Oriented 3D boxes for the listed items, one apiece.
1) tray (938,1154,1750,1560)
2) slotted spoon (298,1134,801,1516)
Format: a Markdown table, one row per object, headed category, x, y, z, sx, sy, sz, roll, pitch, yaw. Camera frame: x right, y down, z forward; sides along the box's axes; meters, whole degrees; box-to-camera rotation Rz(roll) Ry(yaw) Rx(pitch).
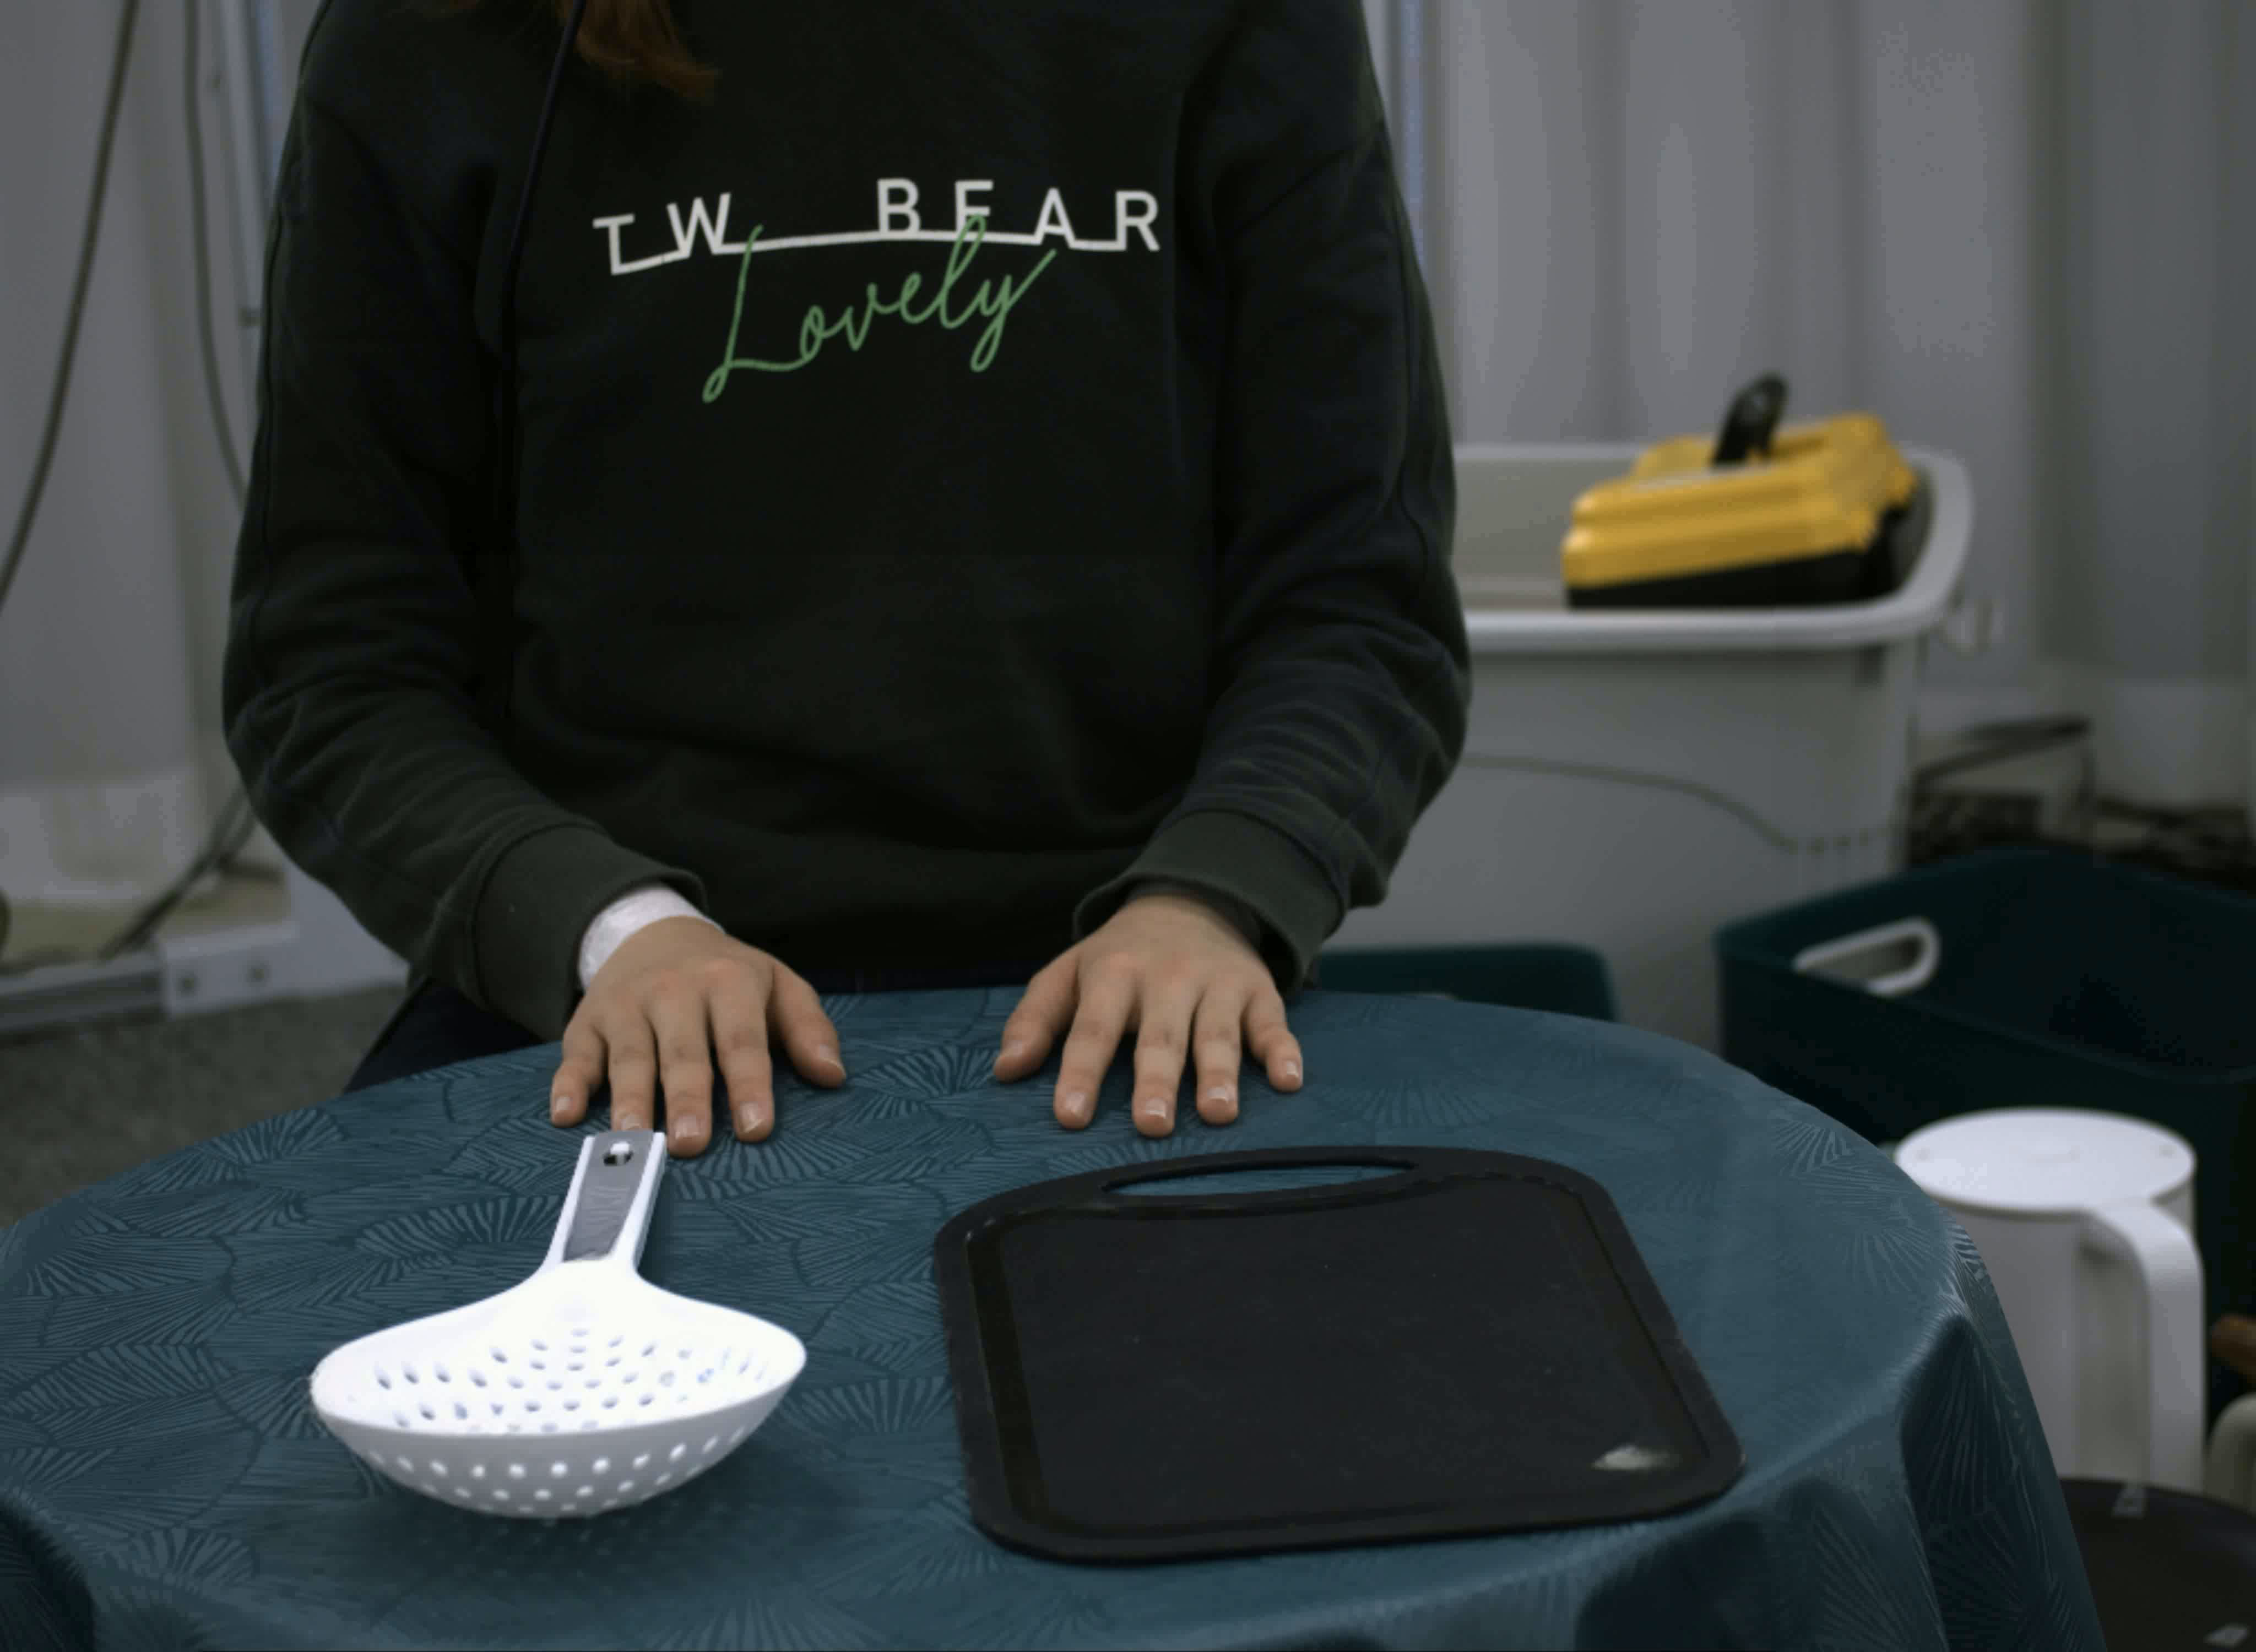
| category | x | y | z | sx | sy | sz | roll | pitch | yaw |
| --- | --- | --- | --- | --- | --- | --- | --- | --- | --- |
| tray | 0.053 | 0.145 | 1.577 | 0.210 | 0.010 | 0.328 | -3 | 15 | -4 |
| slotted spoon | -0.157 | 0.135 | 1.581 | 0.135 | 0.045 | 0.352 | -1 | 14 | -1 |
